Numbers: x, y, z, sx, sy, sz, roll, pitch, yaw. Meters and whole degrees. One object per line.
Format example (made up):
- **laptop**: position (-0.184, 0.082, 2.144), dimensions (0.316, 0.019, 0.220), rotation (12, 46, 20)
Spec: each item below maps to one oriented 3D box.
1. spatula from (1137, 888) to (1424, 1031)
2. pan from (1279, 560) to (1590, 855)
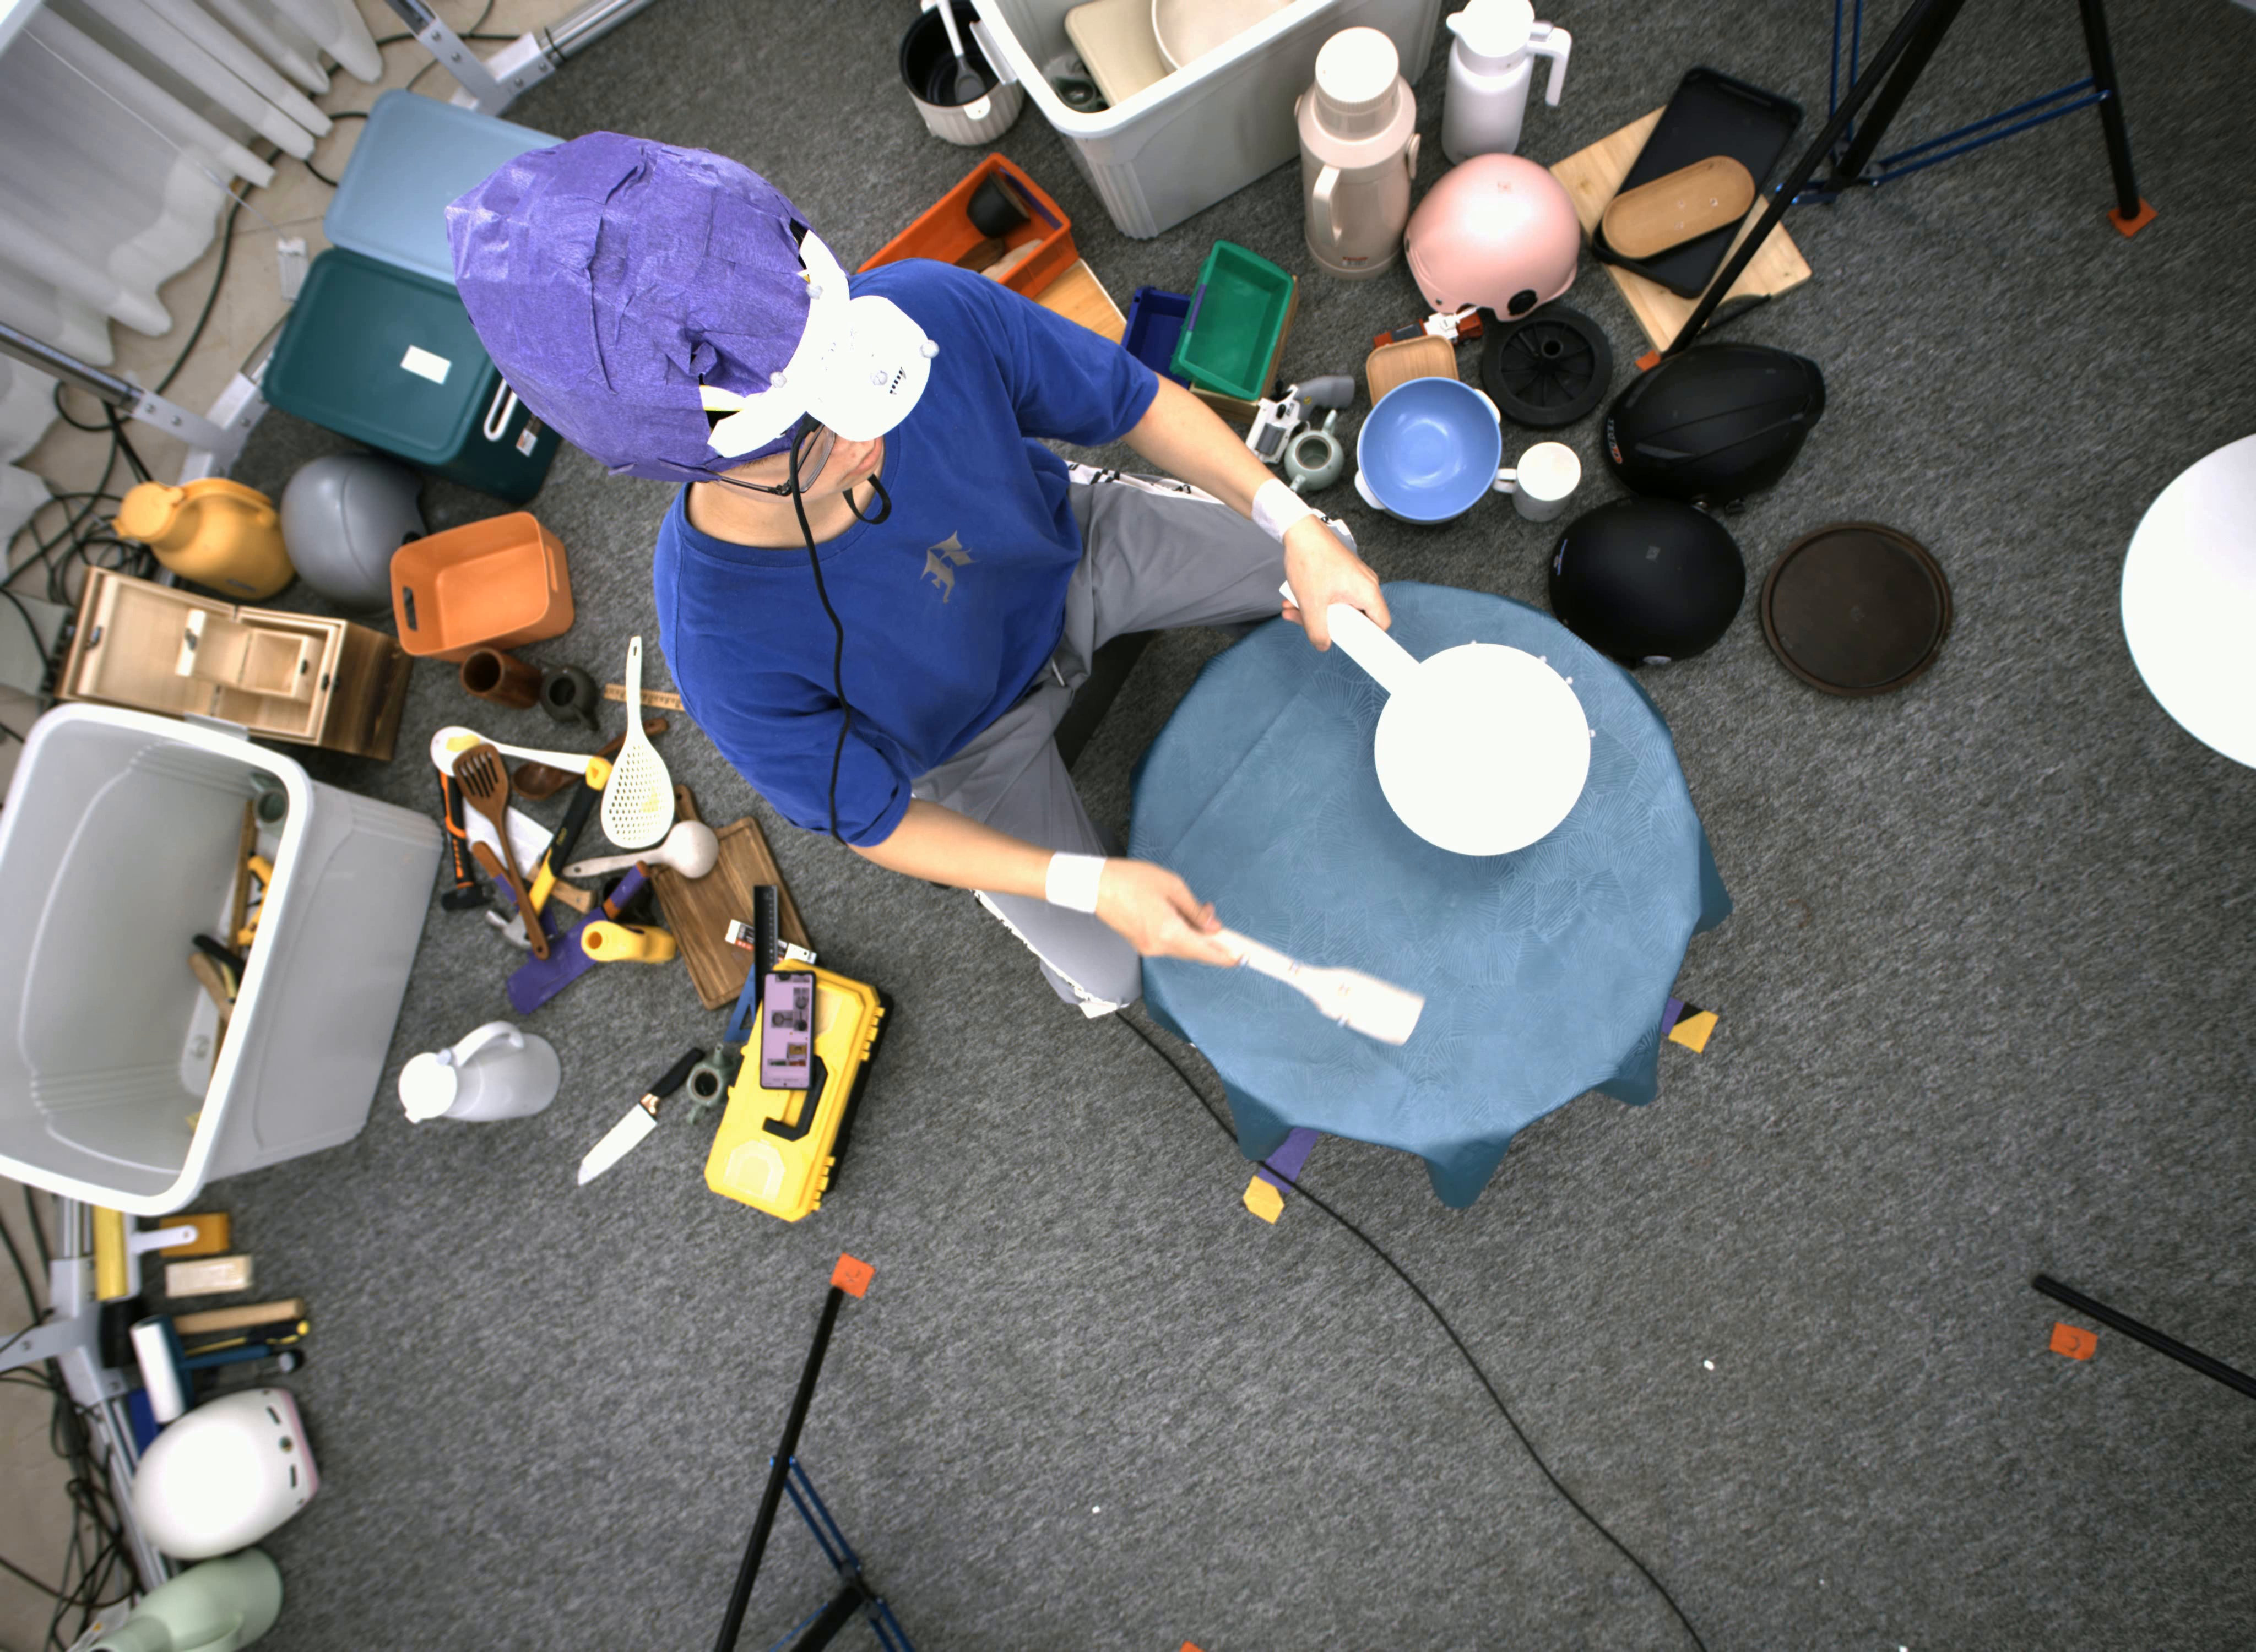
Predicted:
- **spatula**: position (0.141, 0.123, 1.340), dimensions (0.293, 0.070, 0.011), rotation (22, 127, 13)
- **pan**: position (0.298, -0.132, 1.360), dimensions (0.353, 0.101, 0.205), rotation (44, 114, 10)
